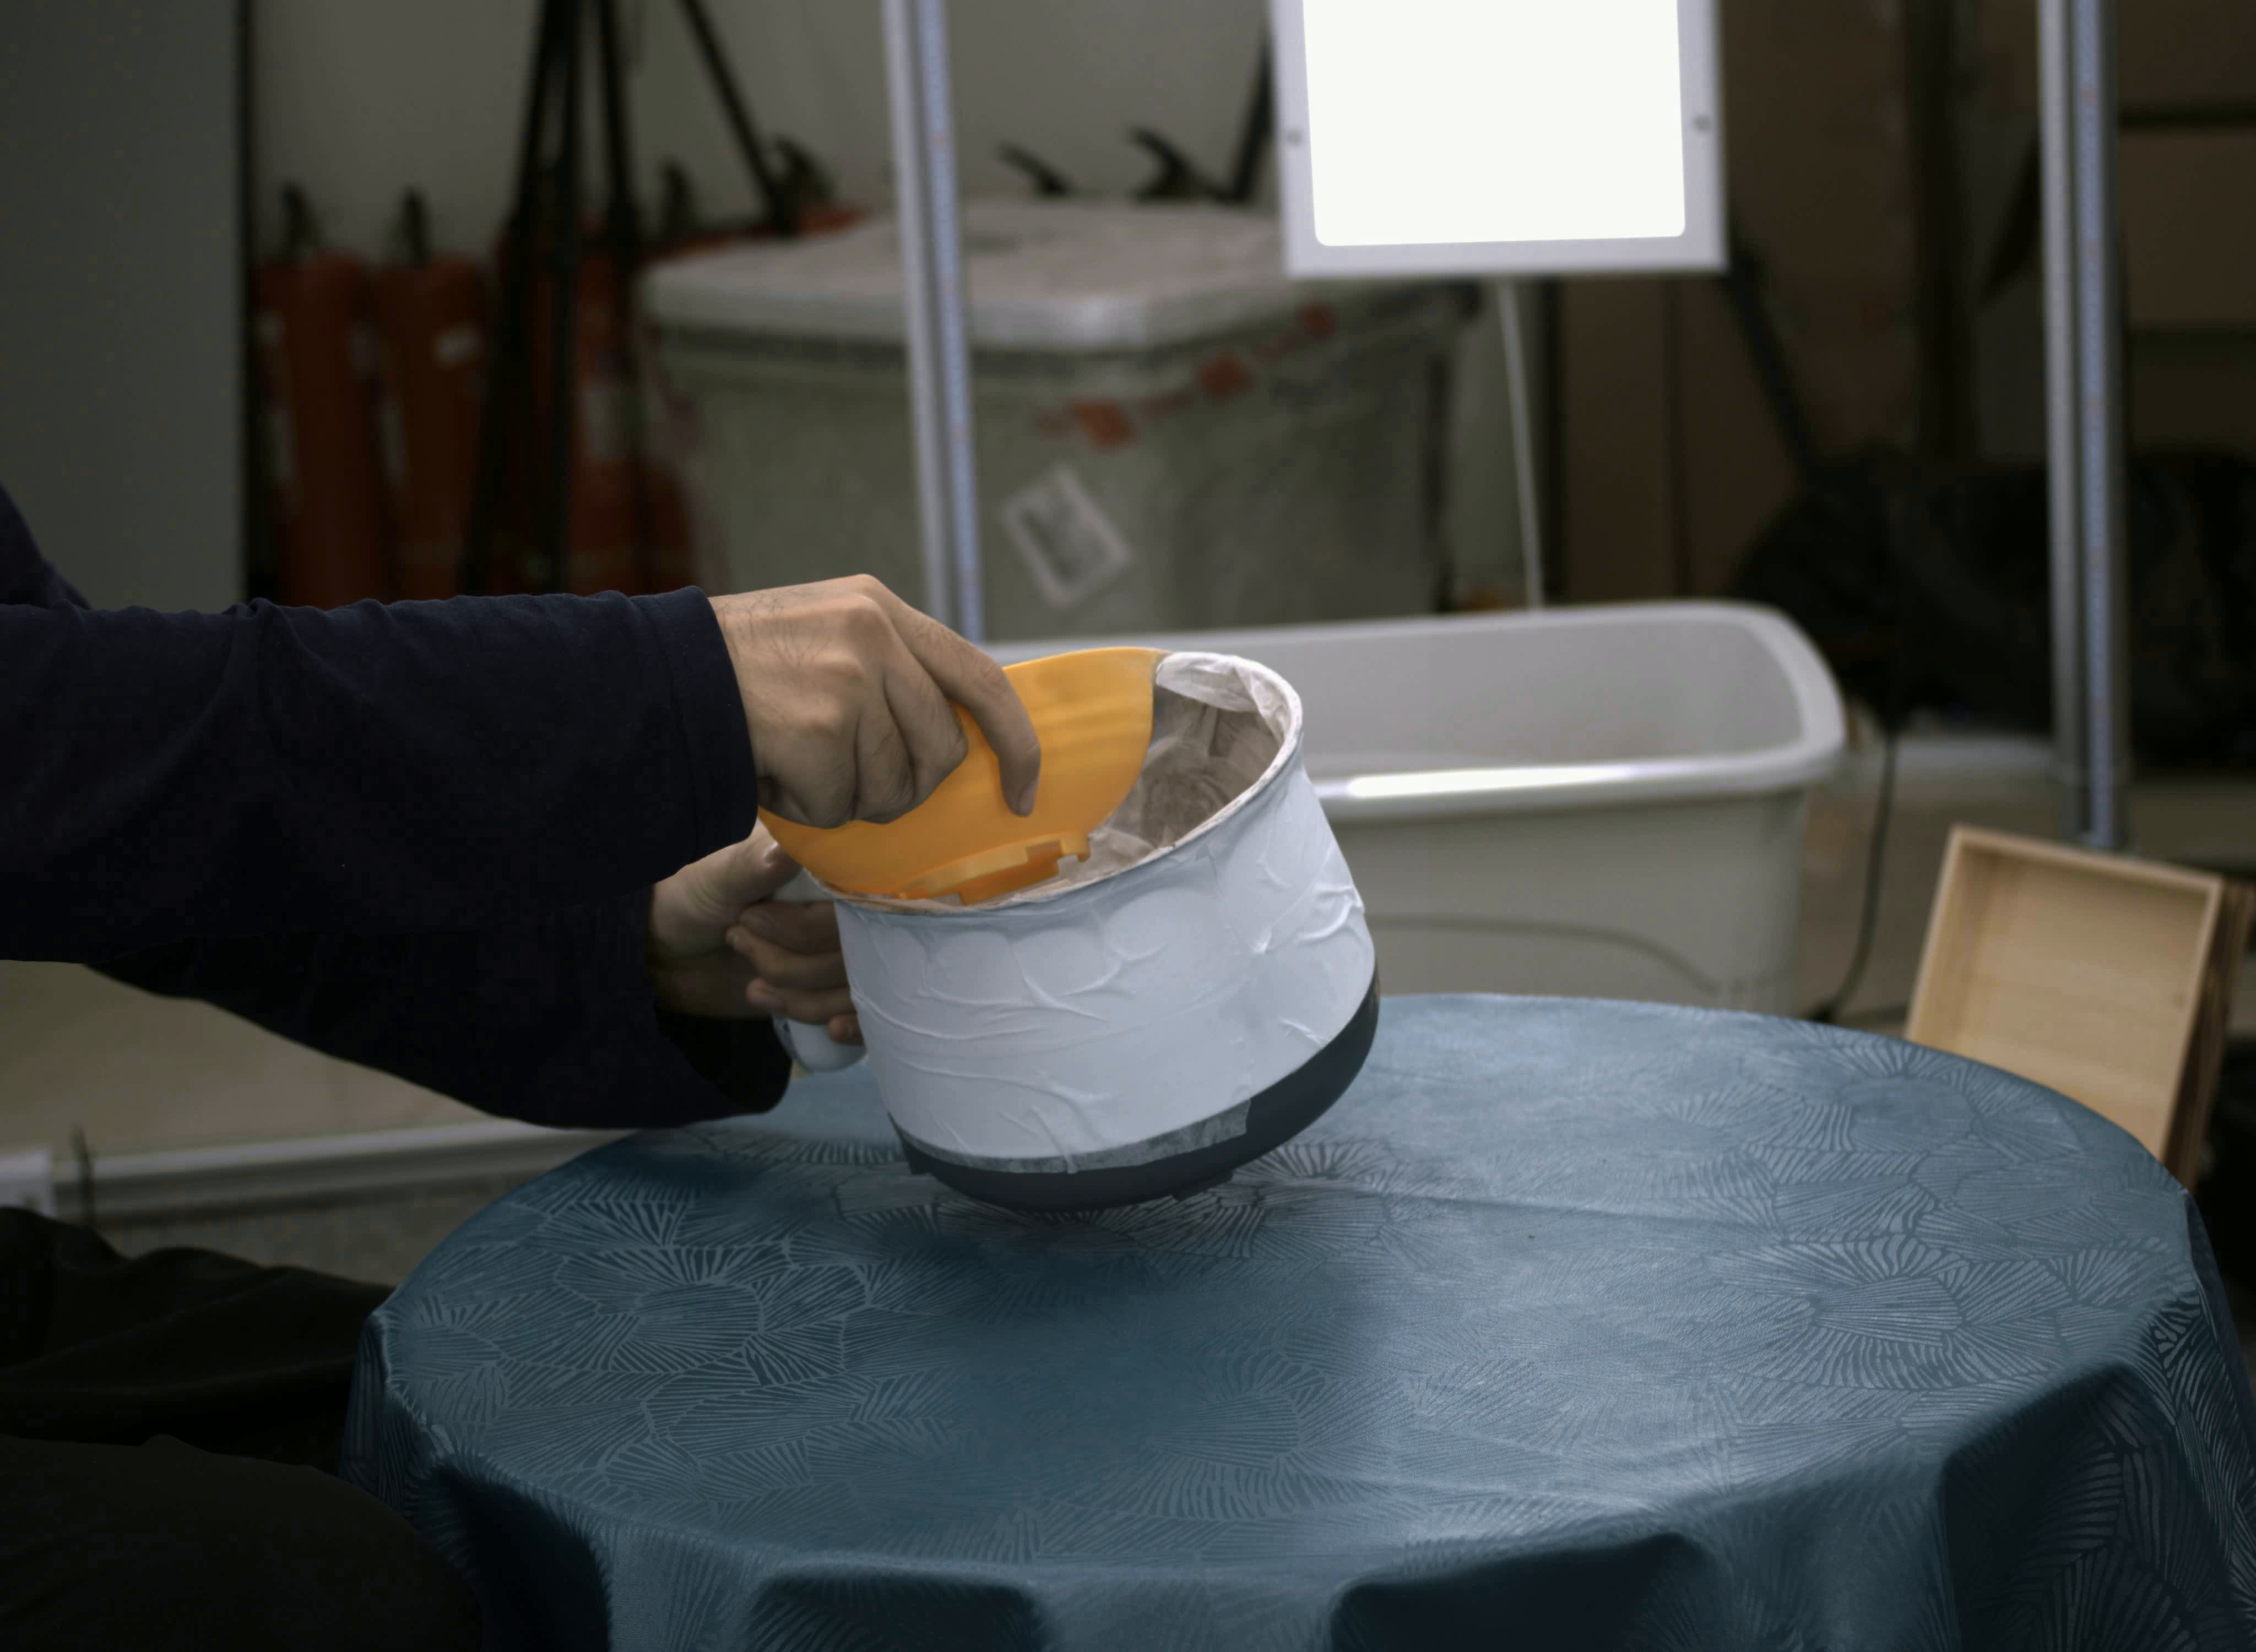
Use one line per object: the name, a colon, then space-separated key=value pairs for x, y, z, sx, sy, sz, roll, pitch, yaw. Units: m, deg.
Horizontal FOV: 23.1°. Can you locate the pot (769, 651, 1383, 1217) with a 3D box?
pot: x=-0.031 y=0.040 z=1.893 sx=0.238 sy=0.136 sz=0.175 roll=-2 pitch=30 yaw=35

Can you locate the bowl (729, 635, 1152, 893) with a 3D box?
bowl: x=-0.055 y=-0.014 z=1.814 sx=0.144 sy=0.060 sz=0.145 roll=-12 pitch=-9 yaw=-3
